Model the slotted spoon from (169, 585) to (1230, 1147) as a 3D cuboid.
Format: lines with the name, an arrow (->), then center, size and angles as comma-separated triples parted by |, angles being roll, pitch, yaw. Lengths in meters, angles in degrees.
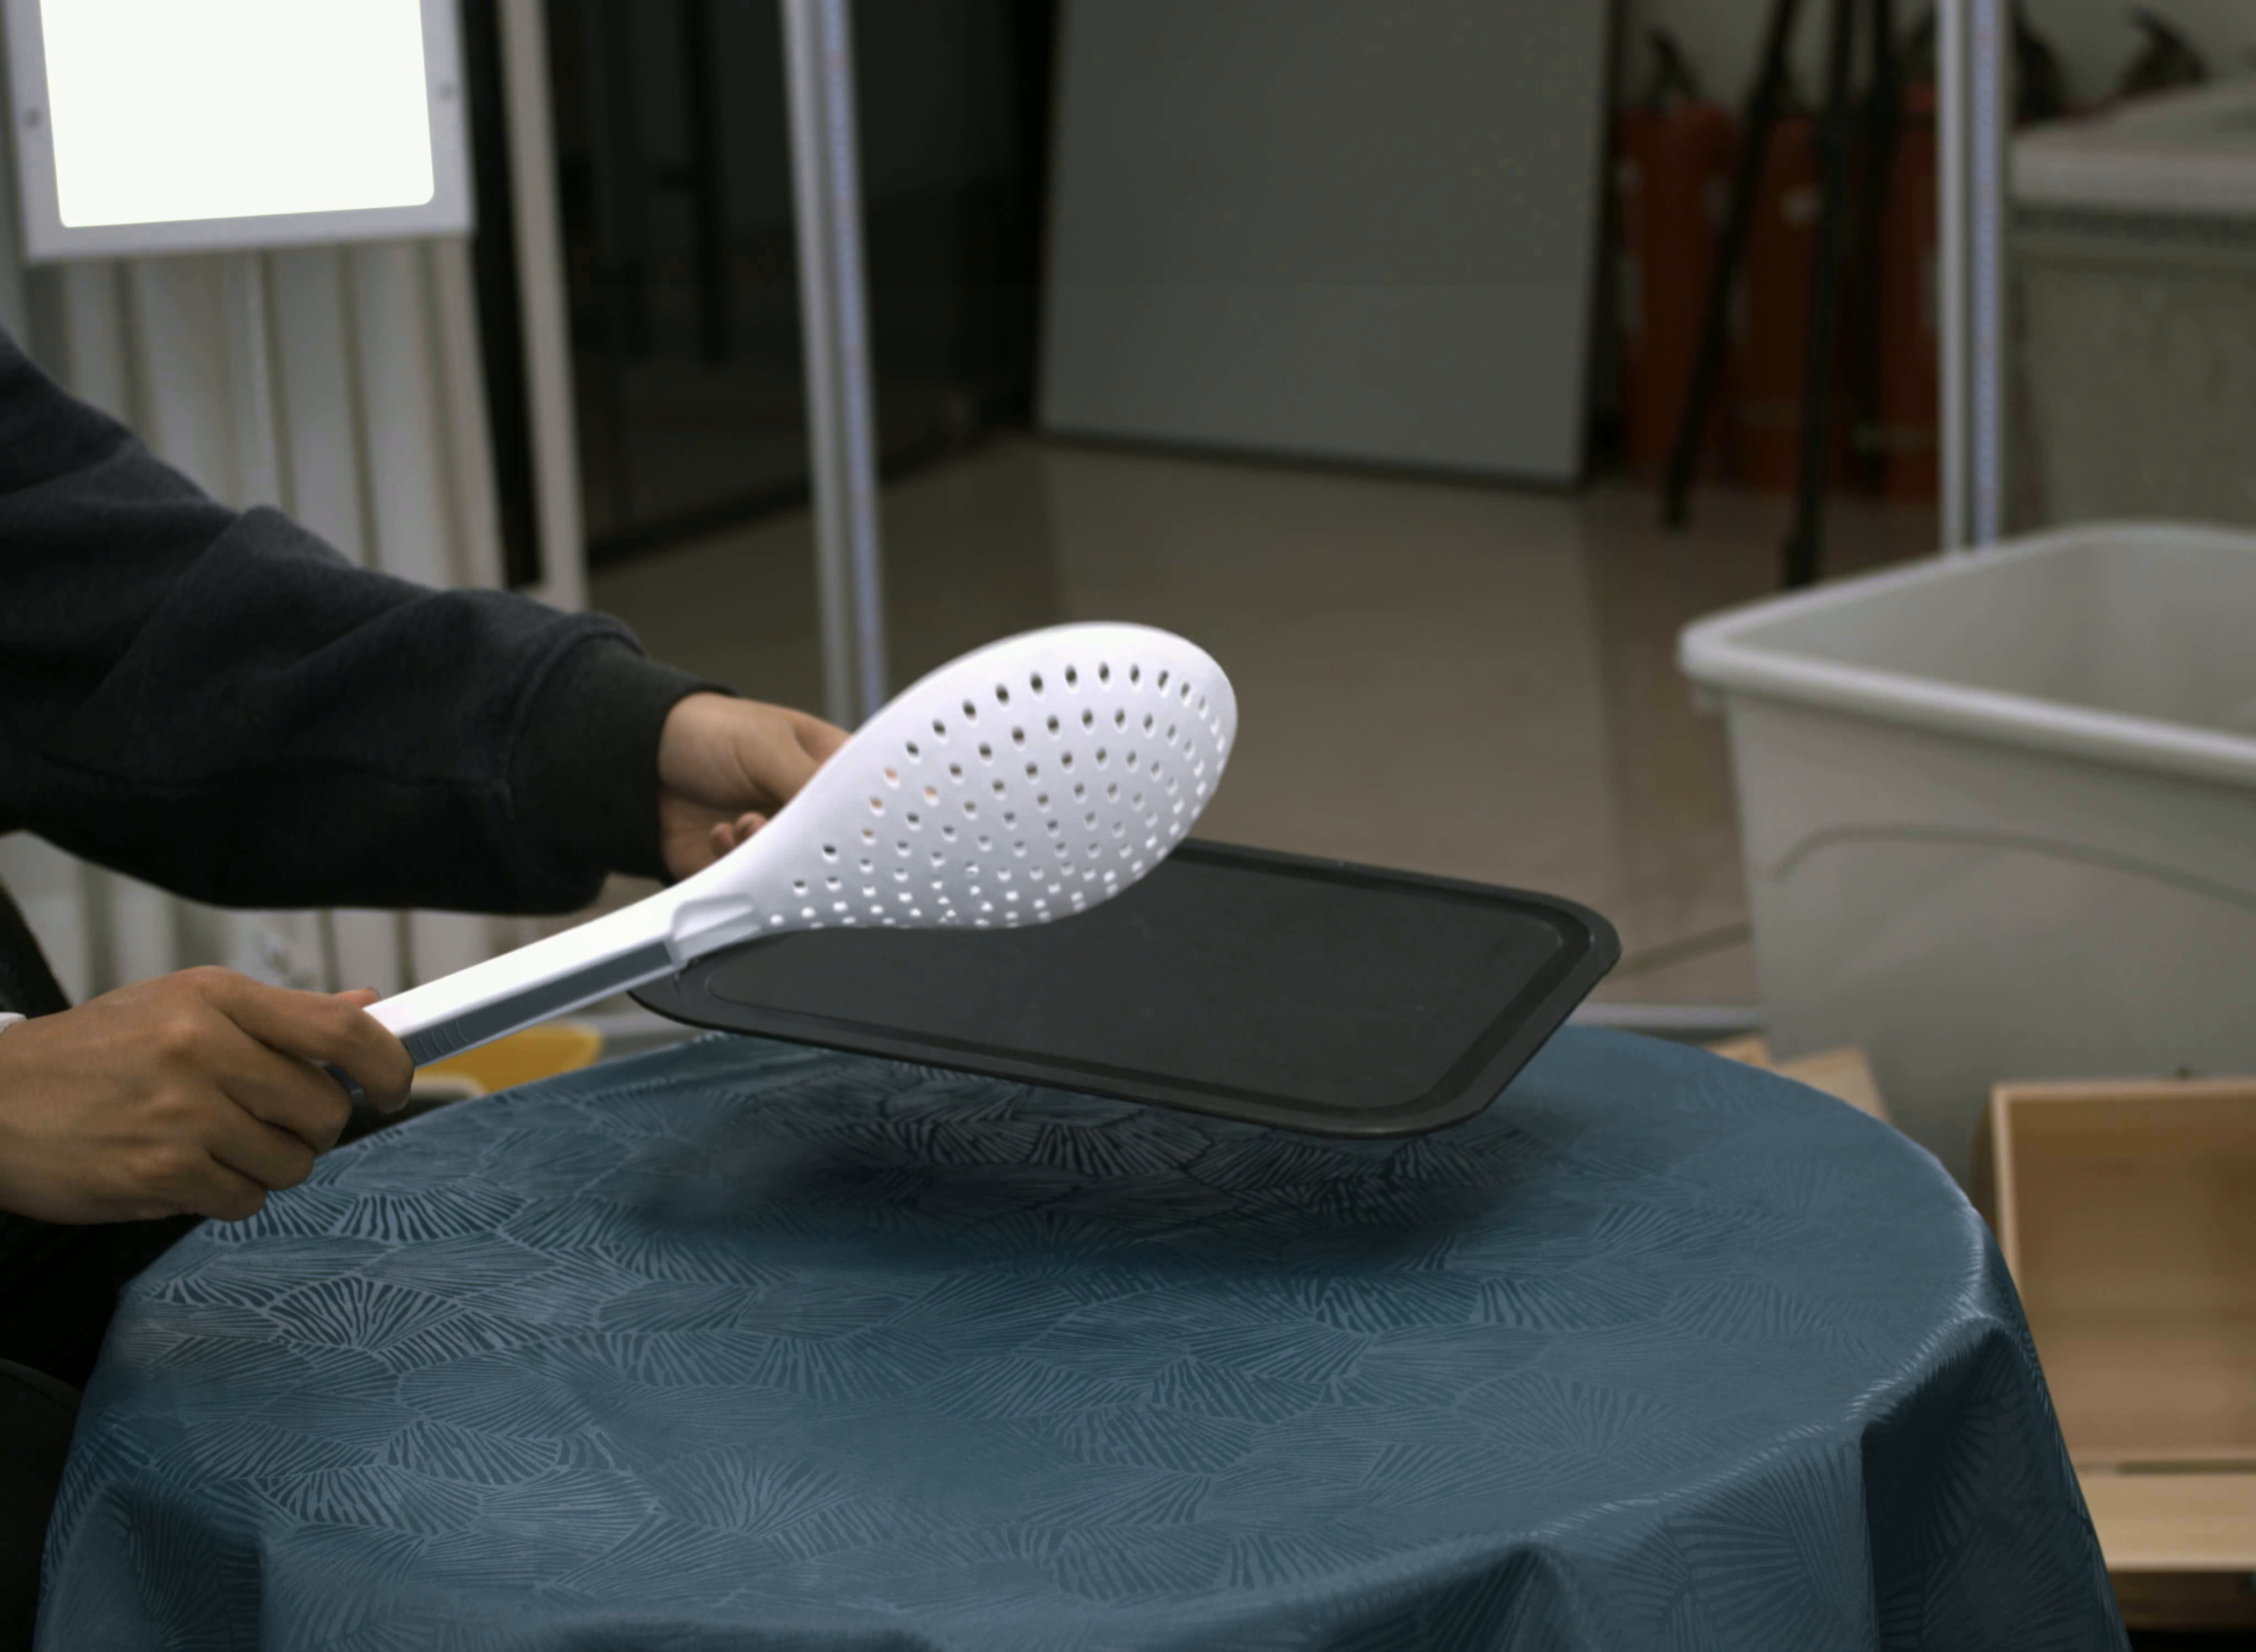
slotted spoon -> -0.128, 0.022, 1.657 | 0.346, 0.136, 0.046 | -18, 50, 1

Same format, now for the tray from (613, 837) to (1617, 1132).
tray -> -0.010, 0.043, 1.800 | 0.326, 0.010, 0.209 | 8, 23, 24
